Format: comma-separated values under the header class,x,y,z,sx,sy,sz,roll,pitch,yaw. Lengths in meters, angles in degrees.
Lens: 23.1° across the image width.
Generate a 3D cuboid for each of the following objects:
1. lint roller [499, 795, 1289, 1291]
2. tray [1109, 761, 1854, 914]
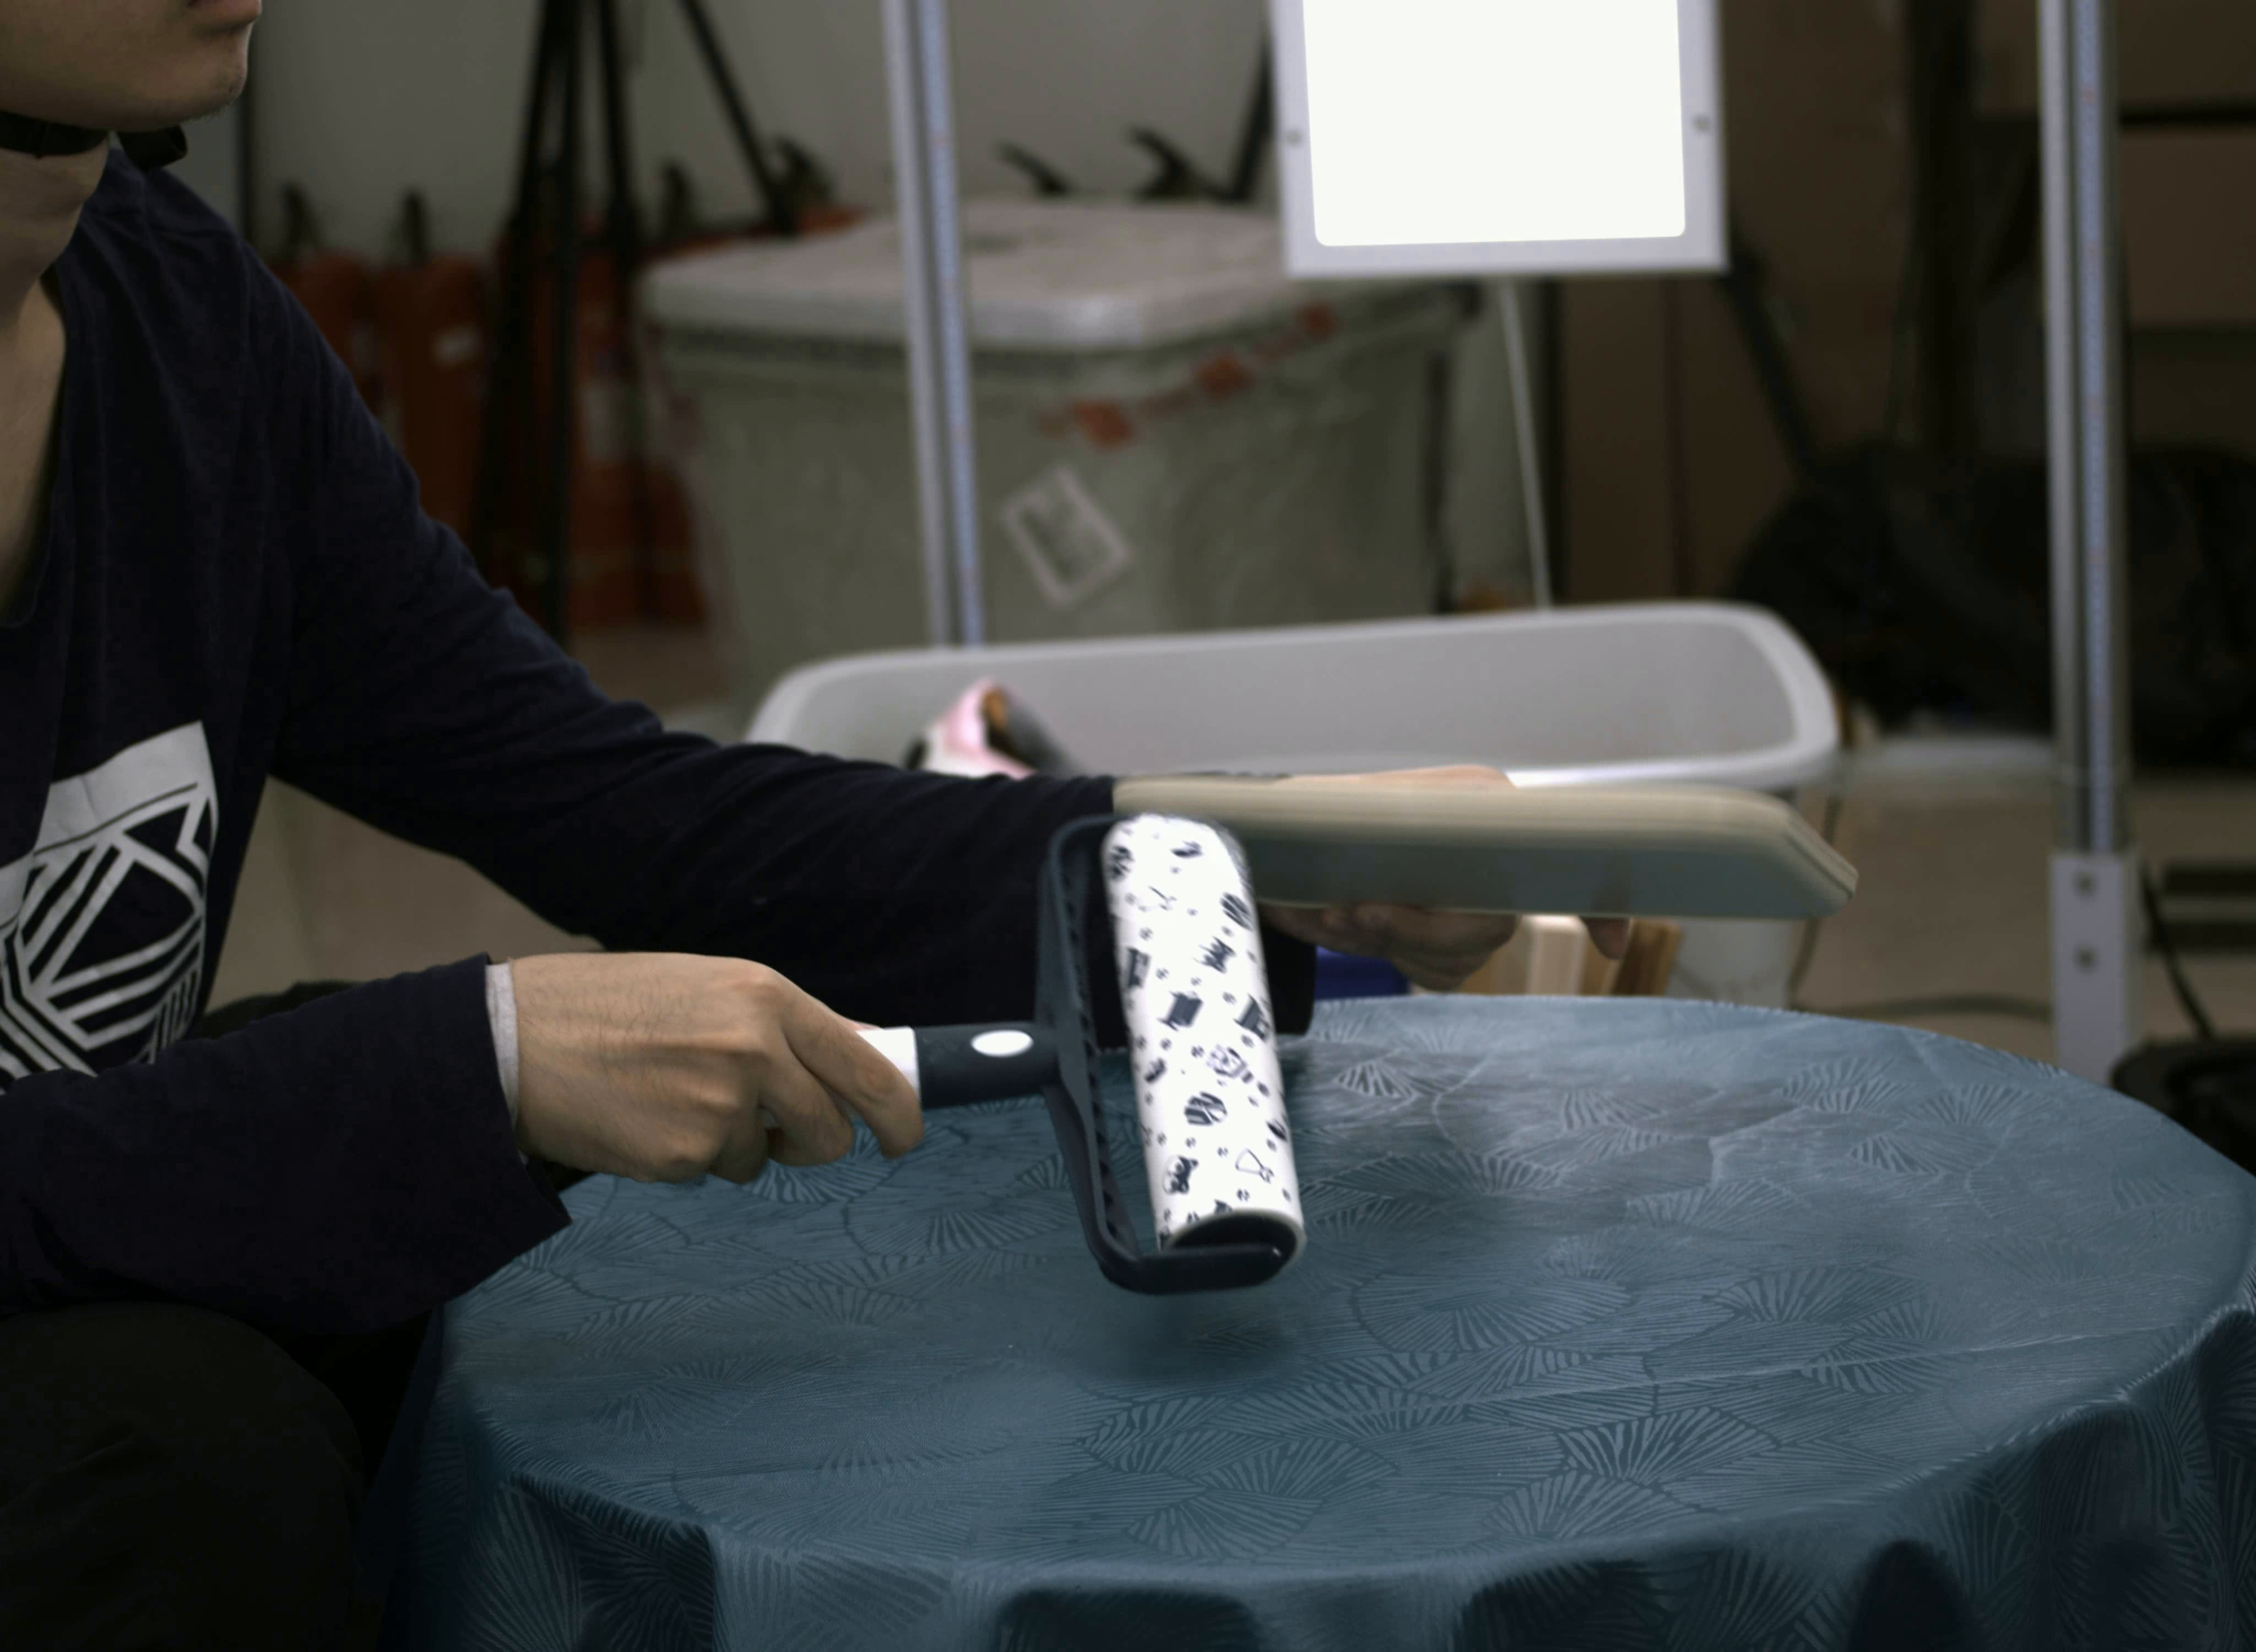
class,x,y,z,sx,sy,sz,roll,pitch,yaw
lint roller,-0.080,0.079,1.772,0.245,0.050,0.176,-7,55,-3
tray,0.123,0.006,1.902,0.243,0.017,0.169,1,-12,22
